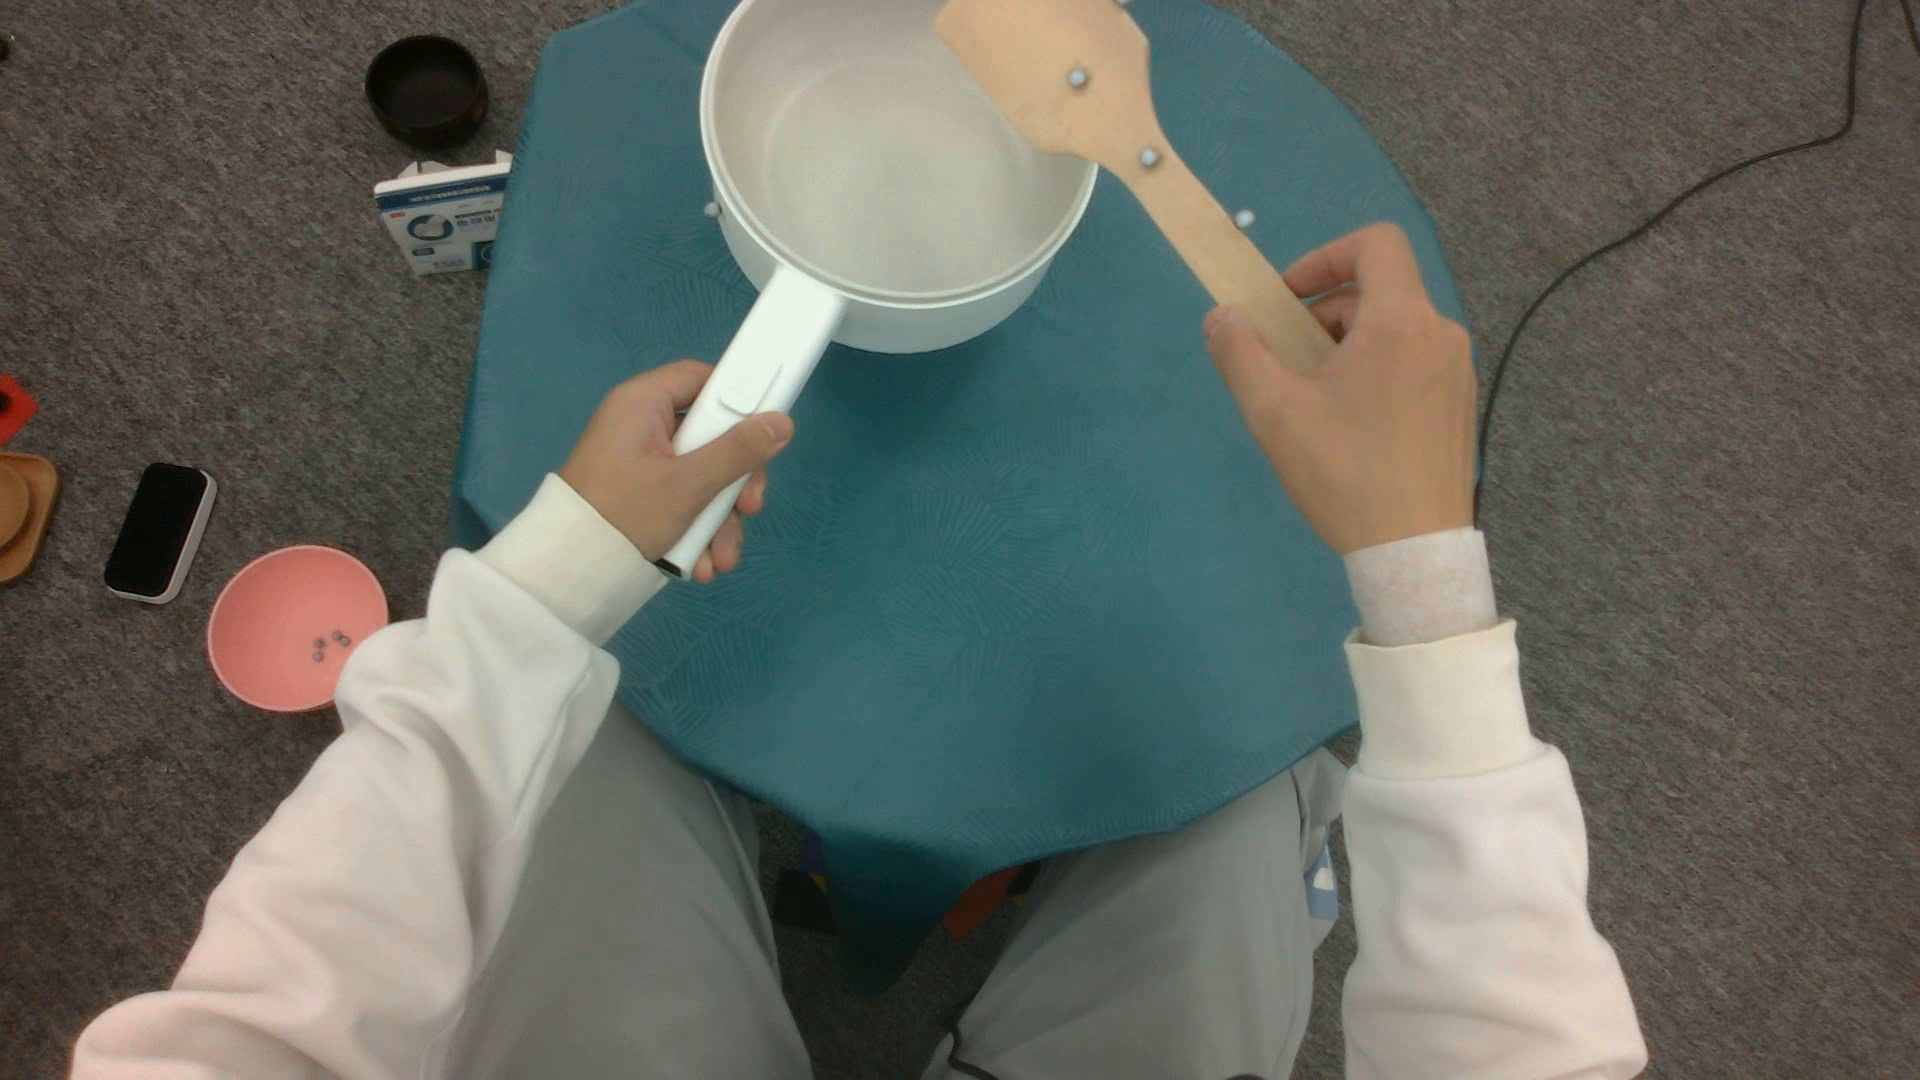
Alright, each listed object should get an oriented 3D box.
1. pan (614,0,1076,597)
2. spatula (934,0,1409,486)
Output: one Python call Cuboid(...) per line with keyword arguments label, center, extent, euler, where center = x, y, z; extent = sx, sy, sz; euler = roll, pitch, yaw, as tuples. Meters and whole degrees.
Cuboid(label="pan", center=(-0.075, -0.128, 0.731), extent=(0.201, 0.102, 0.356), euler=(26, 74, -1))
Cuboid(label="spatula", center=(0.097, -0.142, 0.613), extent=(0.072, 0.010, 0.293), euler=(-41, 77, 17))
